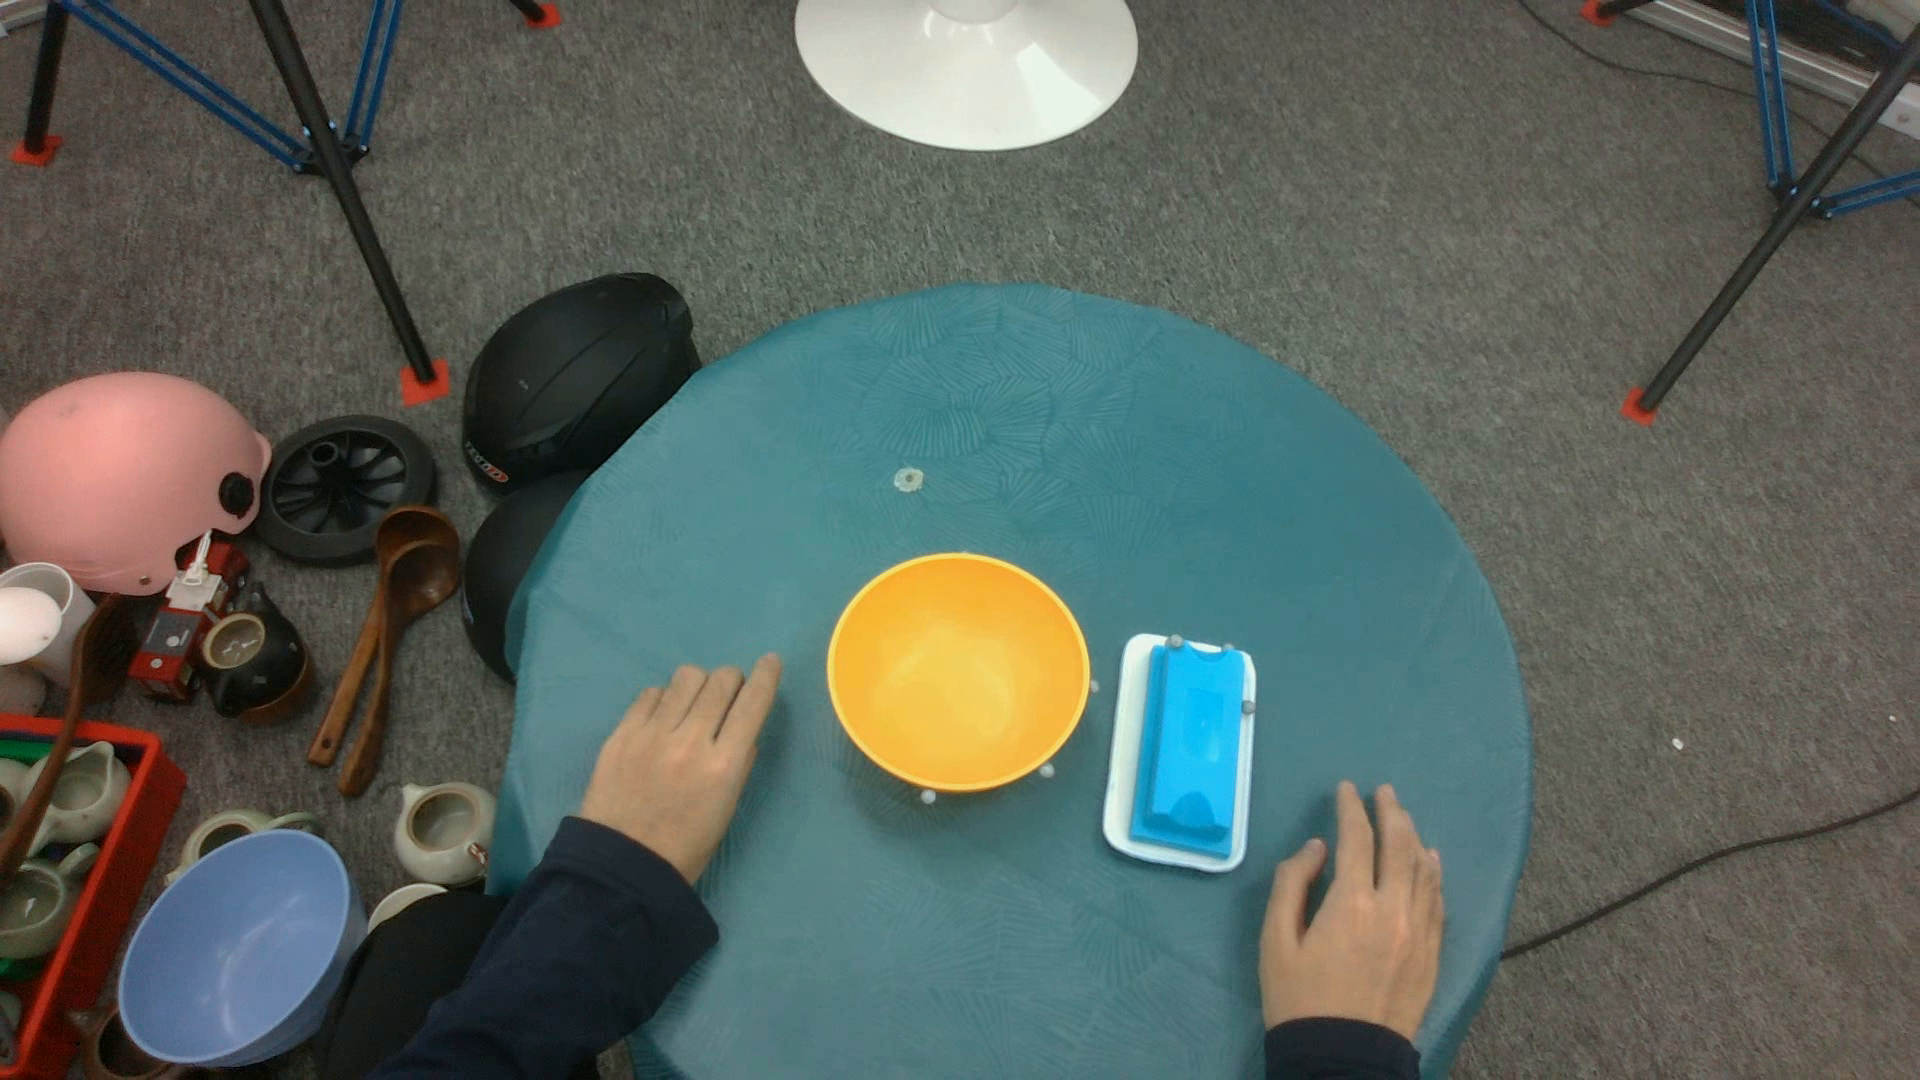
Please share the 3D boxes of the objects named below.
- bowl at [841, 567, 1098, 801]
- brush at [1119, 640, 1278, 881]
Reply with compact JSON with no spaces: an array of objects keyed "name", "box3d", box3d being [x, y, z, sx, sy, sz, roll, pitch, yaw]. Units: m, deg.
[{"name":"bowl","box3d":[0.004,0.091,0.788,0.145,0.060,0.146,2,55,-2]},{"name":"brush","box3d":[0.138,0.116,0.777,0.084,0.055,0.144,8,55,6]}]
